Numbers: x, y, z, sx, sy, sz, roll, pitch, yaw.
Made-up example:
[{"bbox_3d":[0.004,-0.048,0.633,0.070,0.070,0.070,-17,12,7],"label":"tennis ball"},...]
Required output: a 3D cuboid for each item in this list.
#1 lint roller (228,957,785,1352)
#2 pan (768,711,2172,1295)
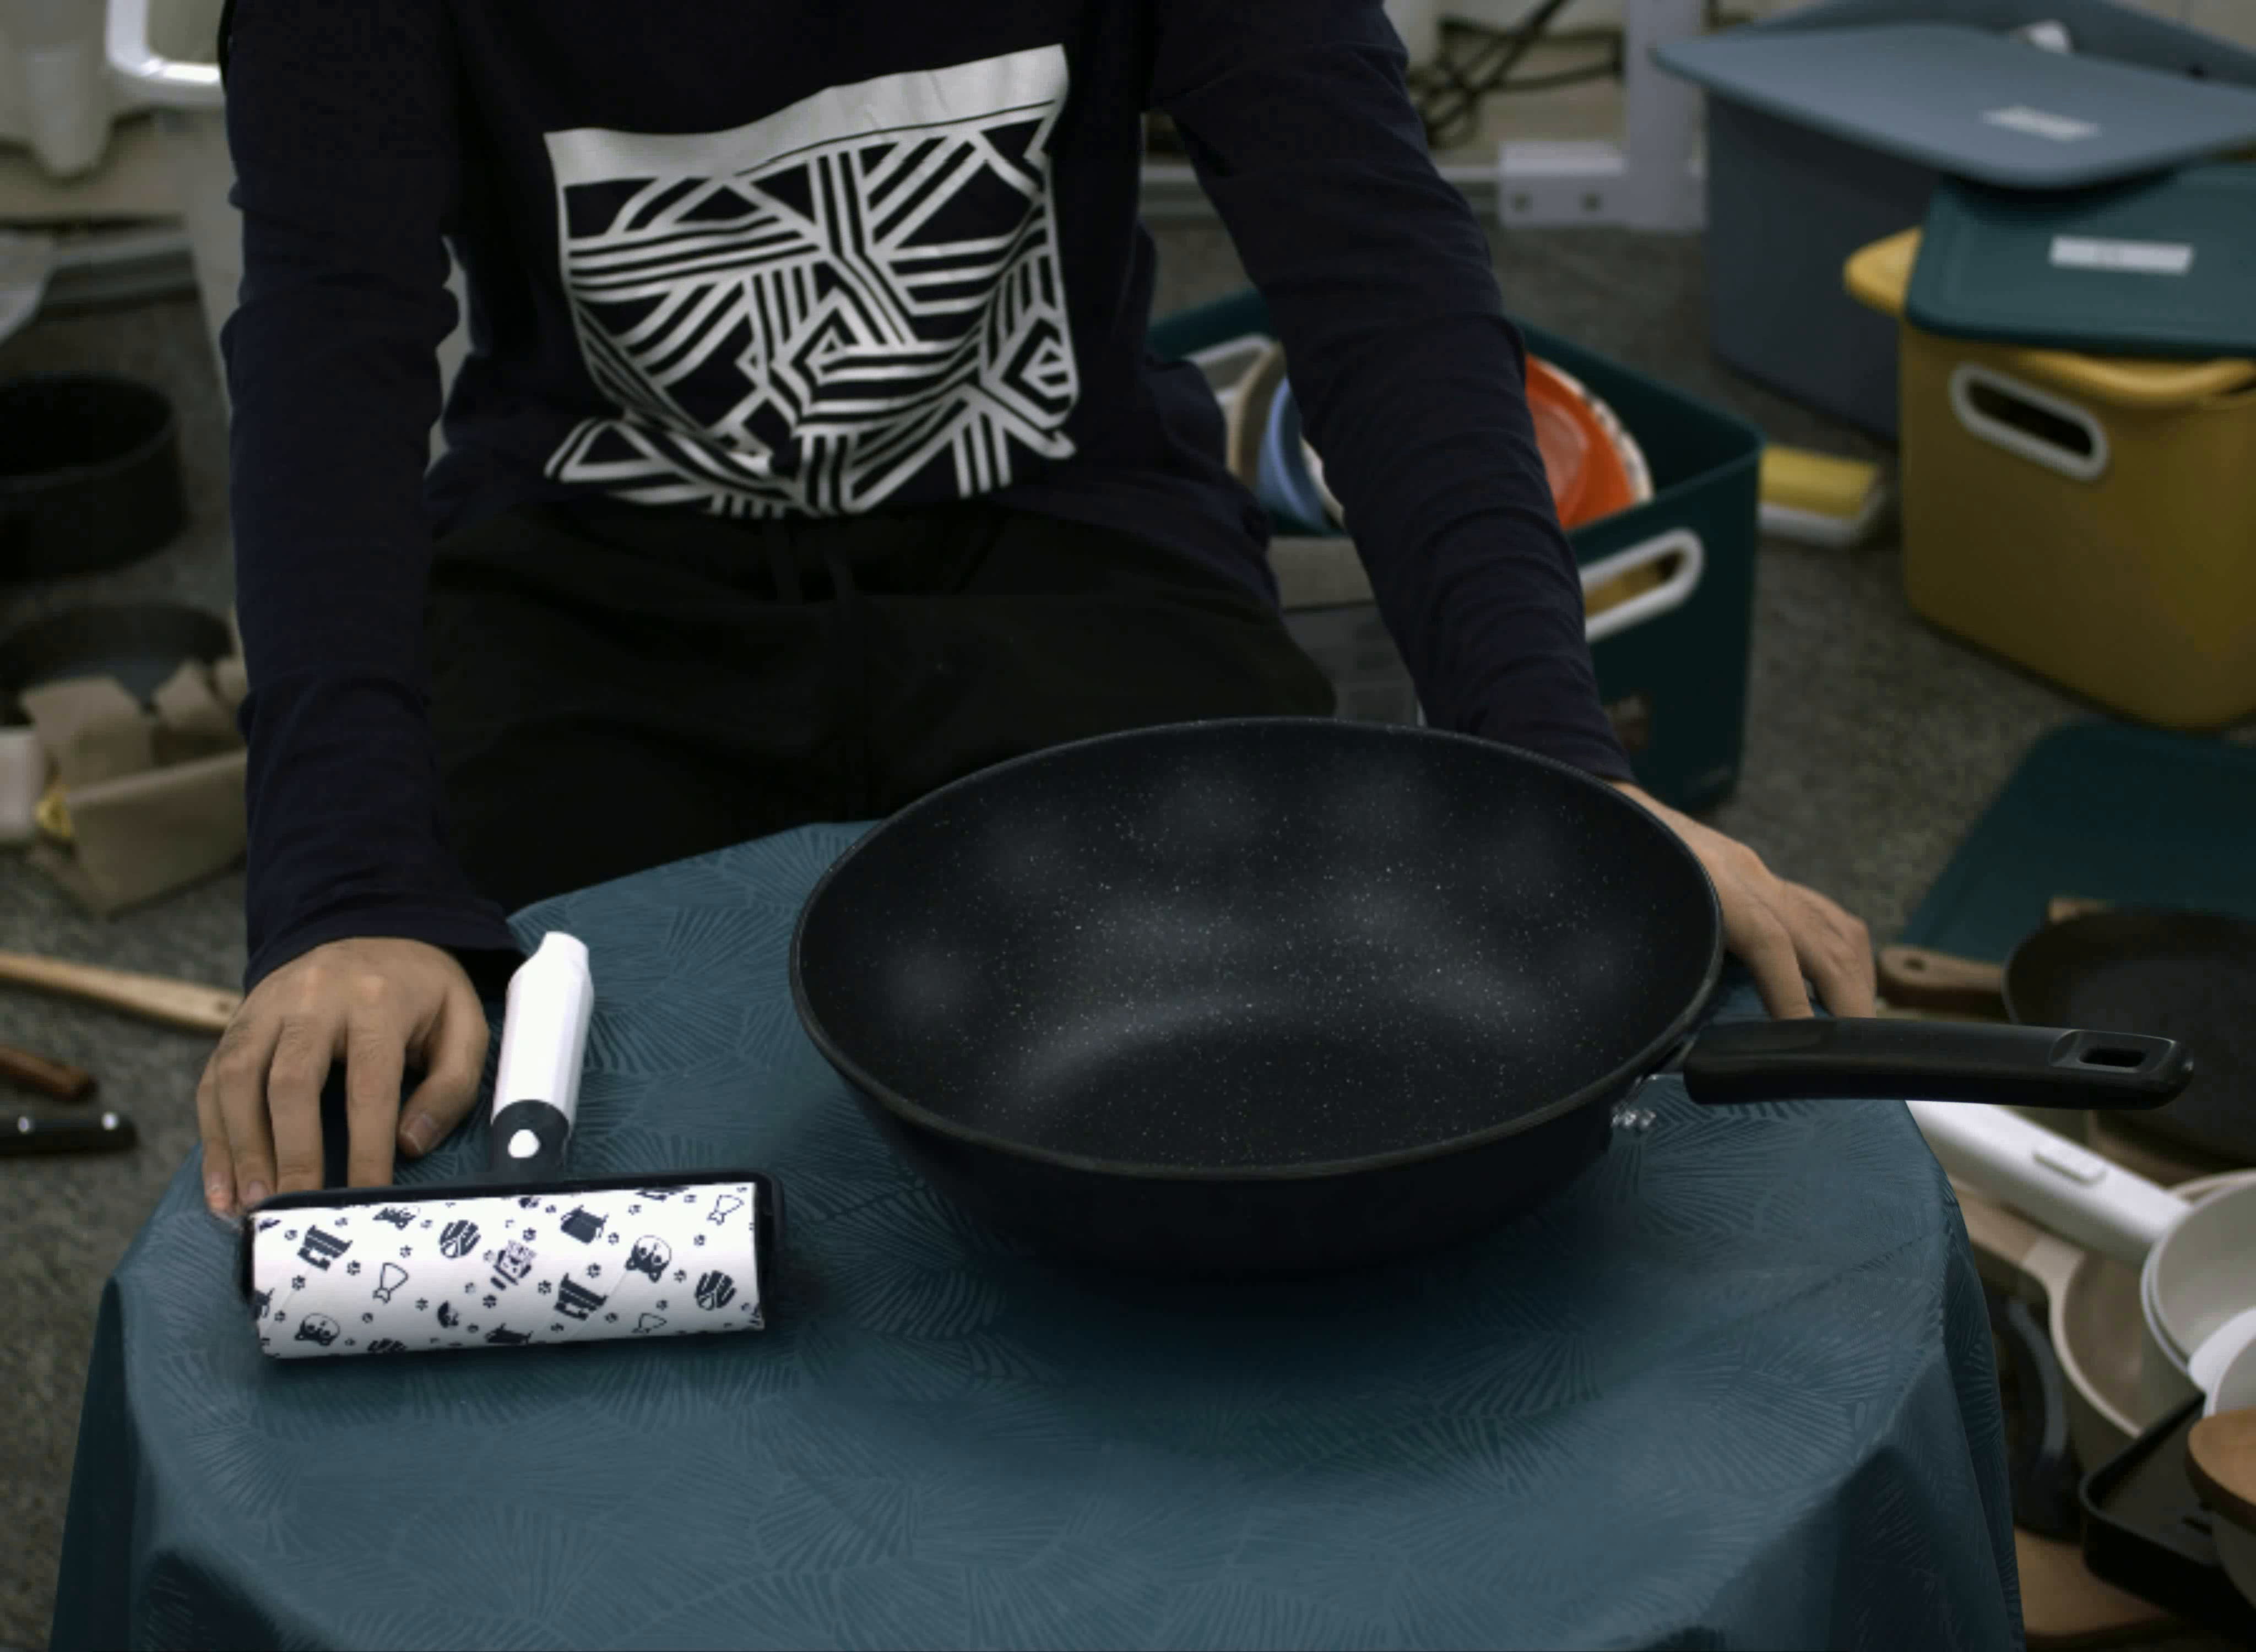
[{"bbox_3d":[-0.202,0.098,1.882,0.175,0.050,0.250,-4,25,-1],"label":"lint roller"},{"bbox_3d":[0.109,0.075,1.825,0.474,0.110,0.315,12,32,27],"label":"pan"}]
